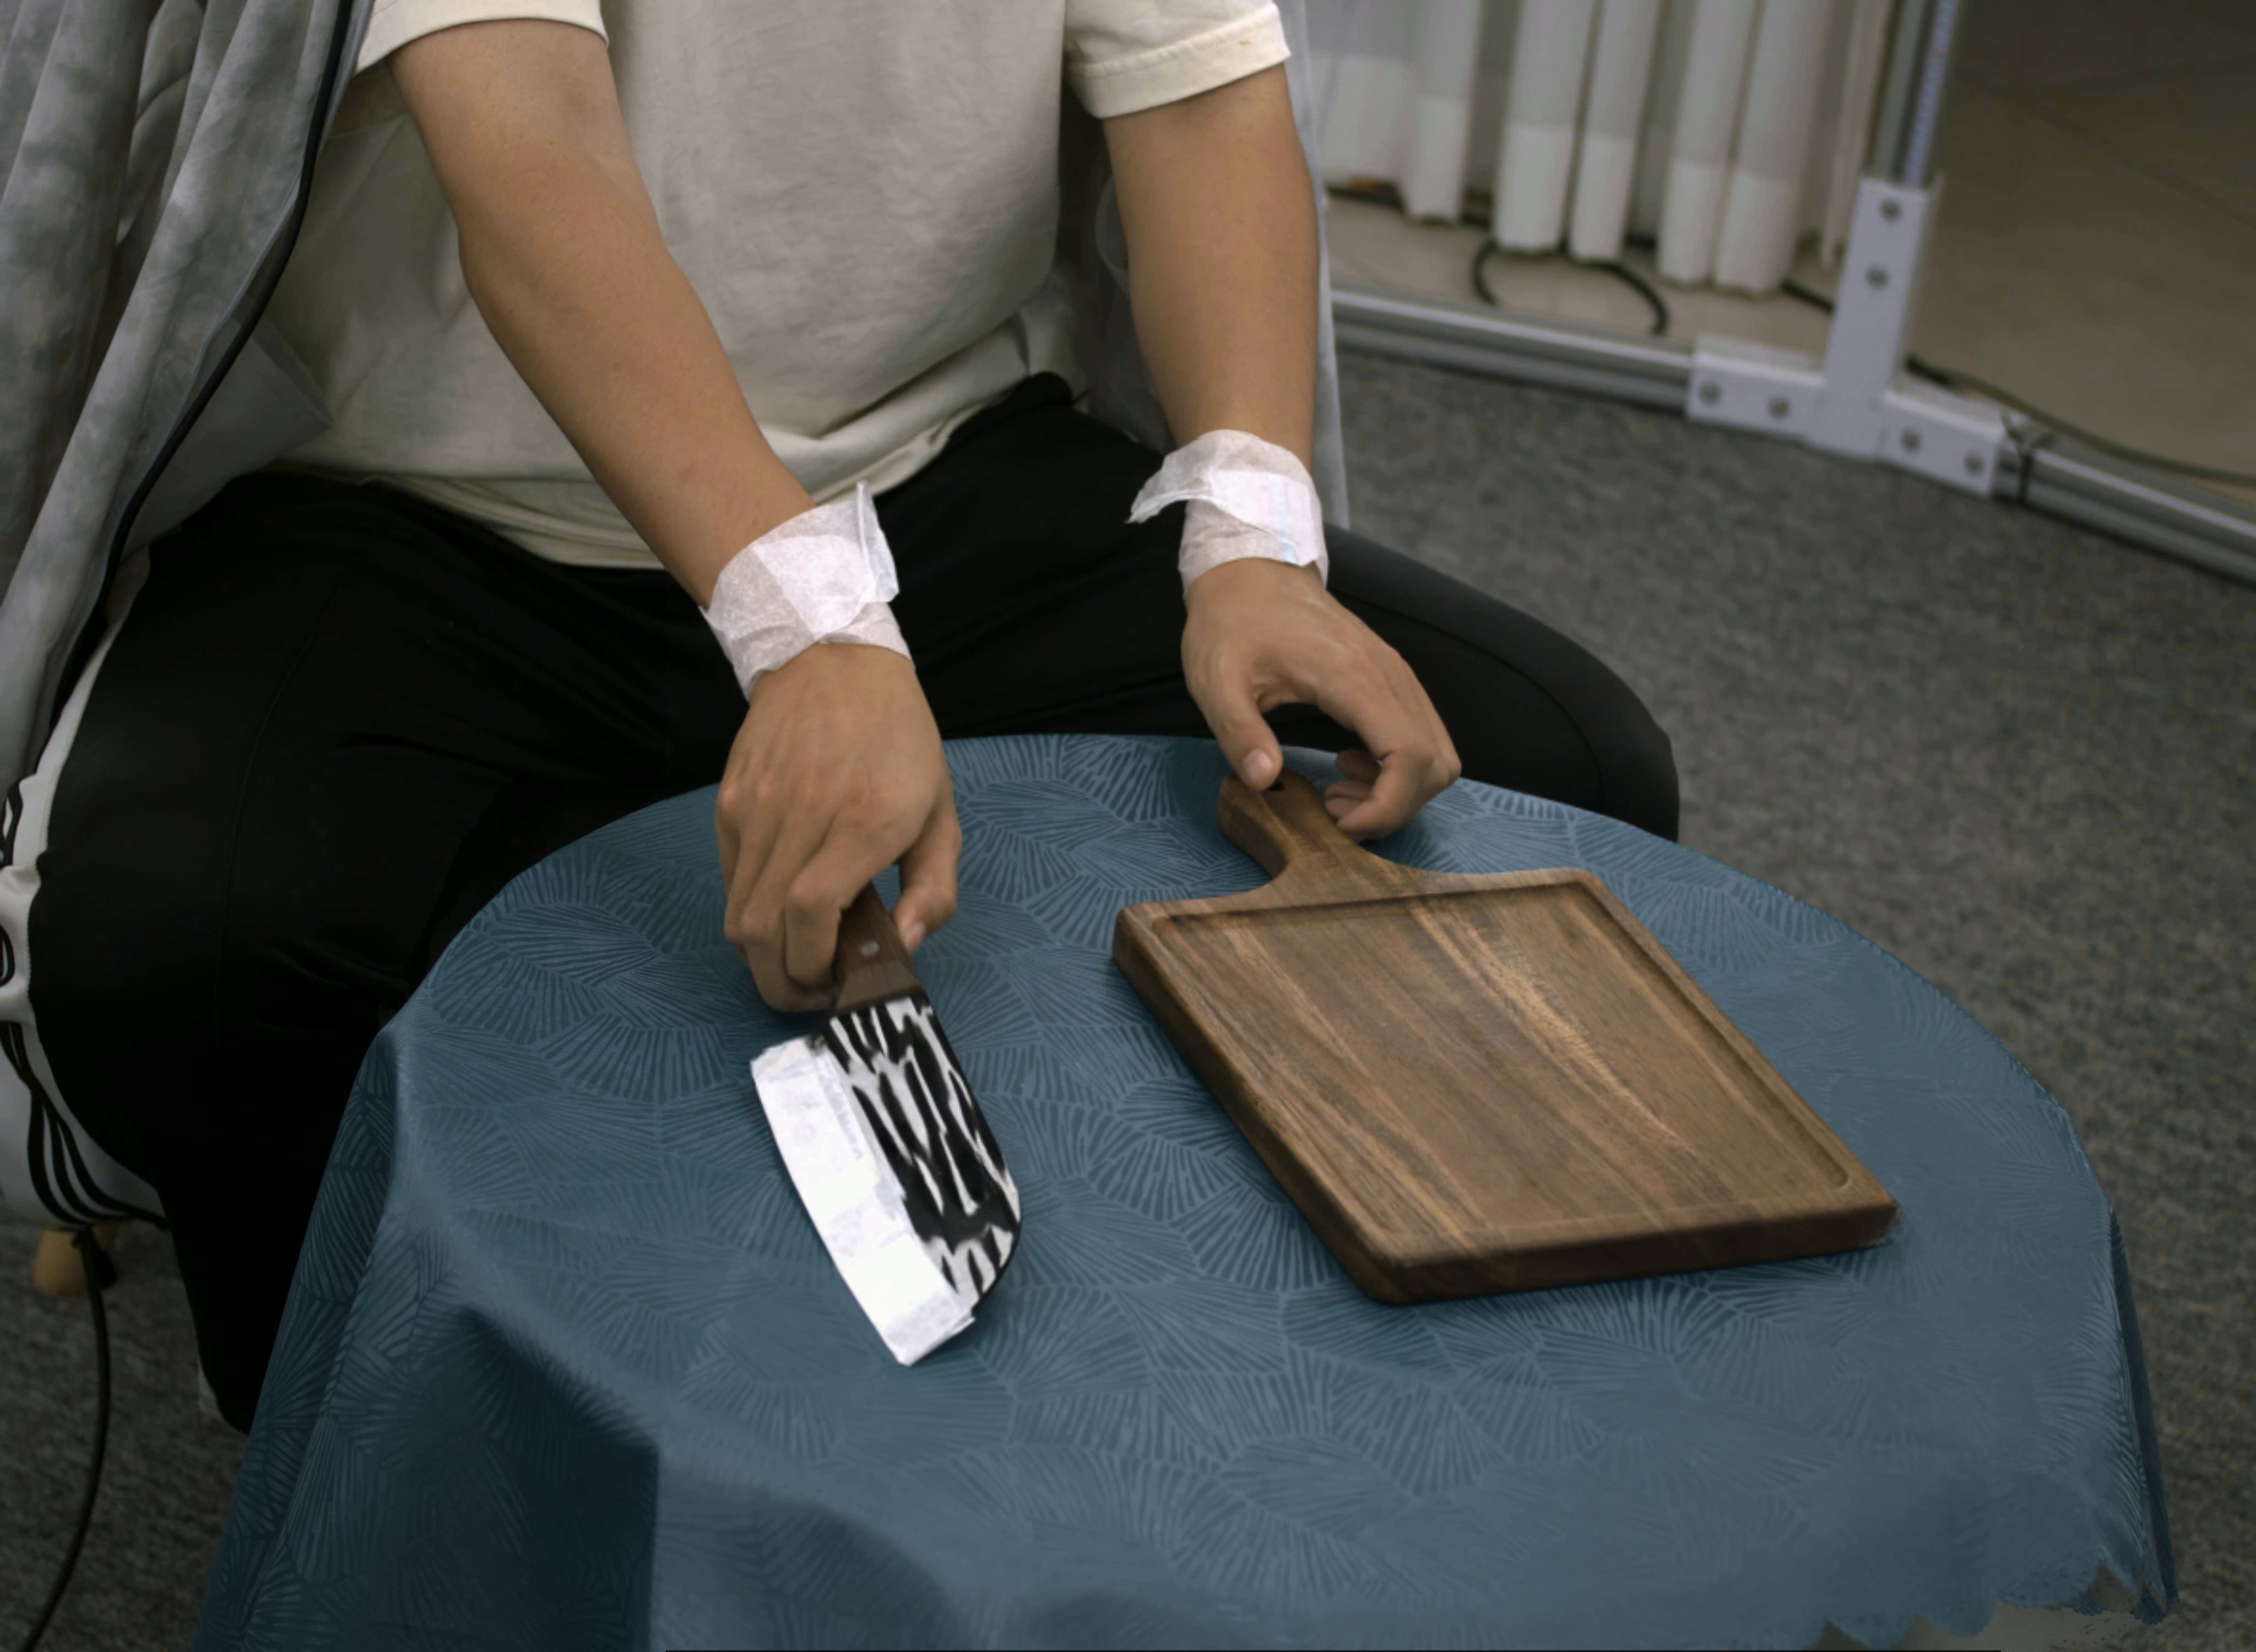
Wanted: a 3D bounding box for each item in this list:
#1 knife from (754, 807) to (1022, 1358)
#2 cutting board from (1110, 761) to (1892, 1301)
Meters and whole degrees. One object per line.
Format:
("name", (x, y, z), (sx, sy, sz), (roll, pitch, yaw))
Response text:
("knife", (-0.091, 0.084, 1.818), (0.068, 0.024, 0.302), (-21, 35, -5))
("cutting board", (0.110, 0.063, 1.926), (0.200, 0.023, 0.355), (-5, 28, -21))
